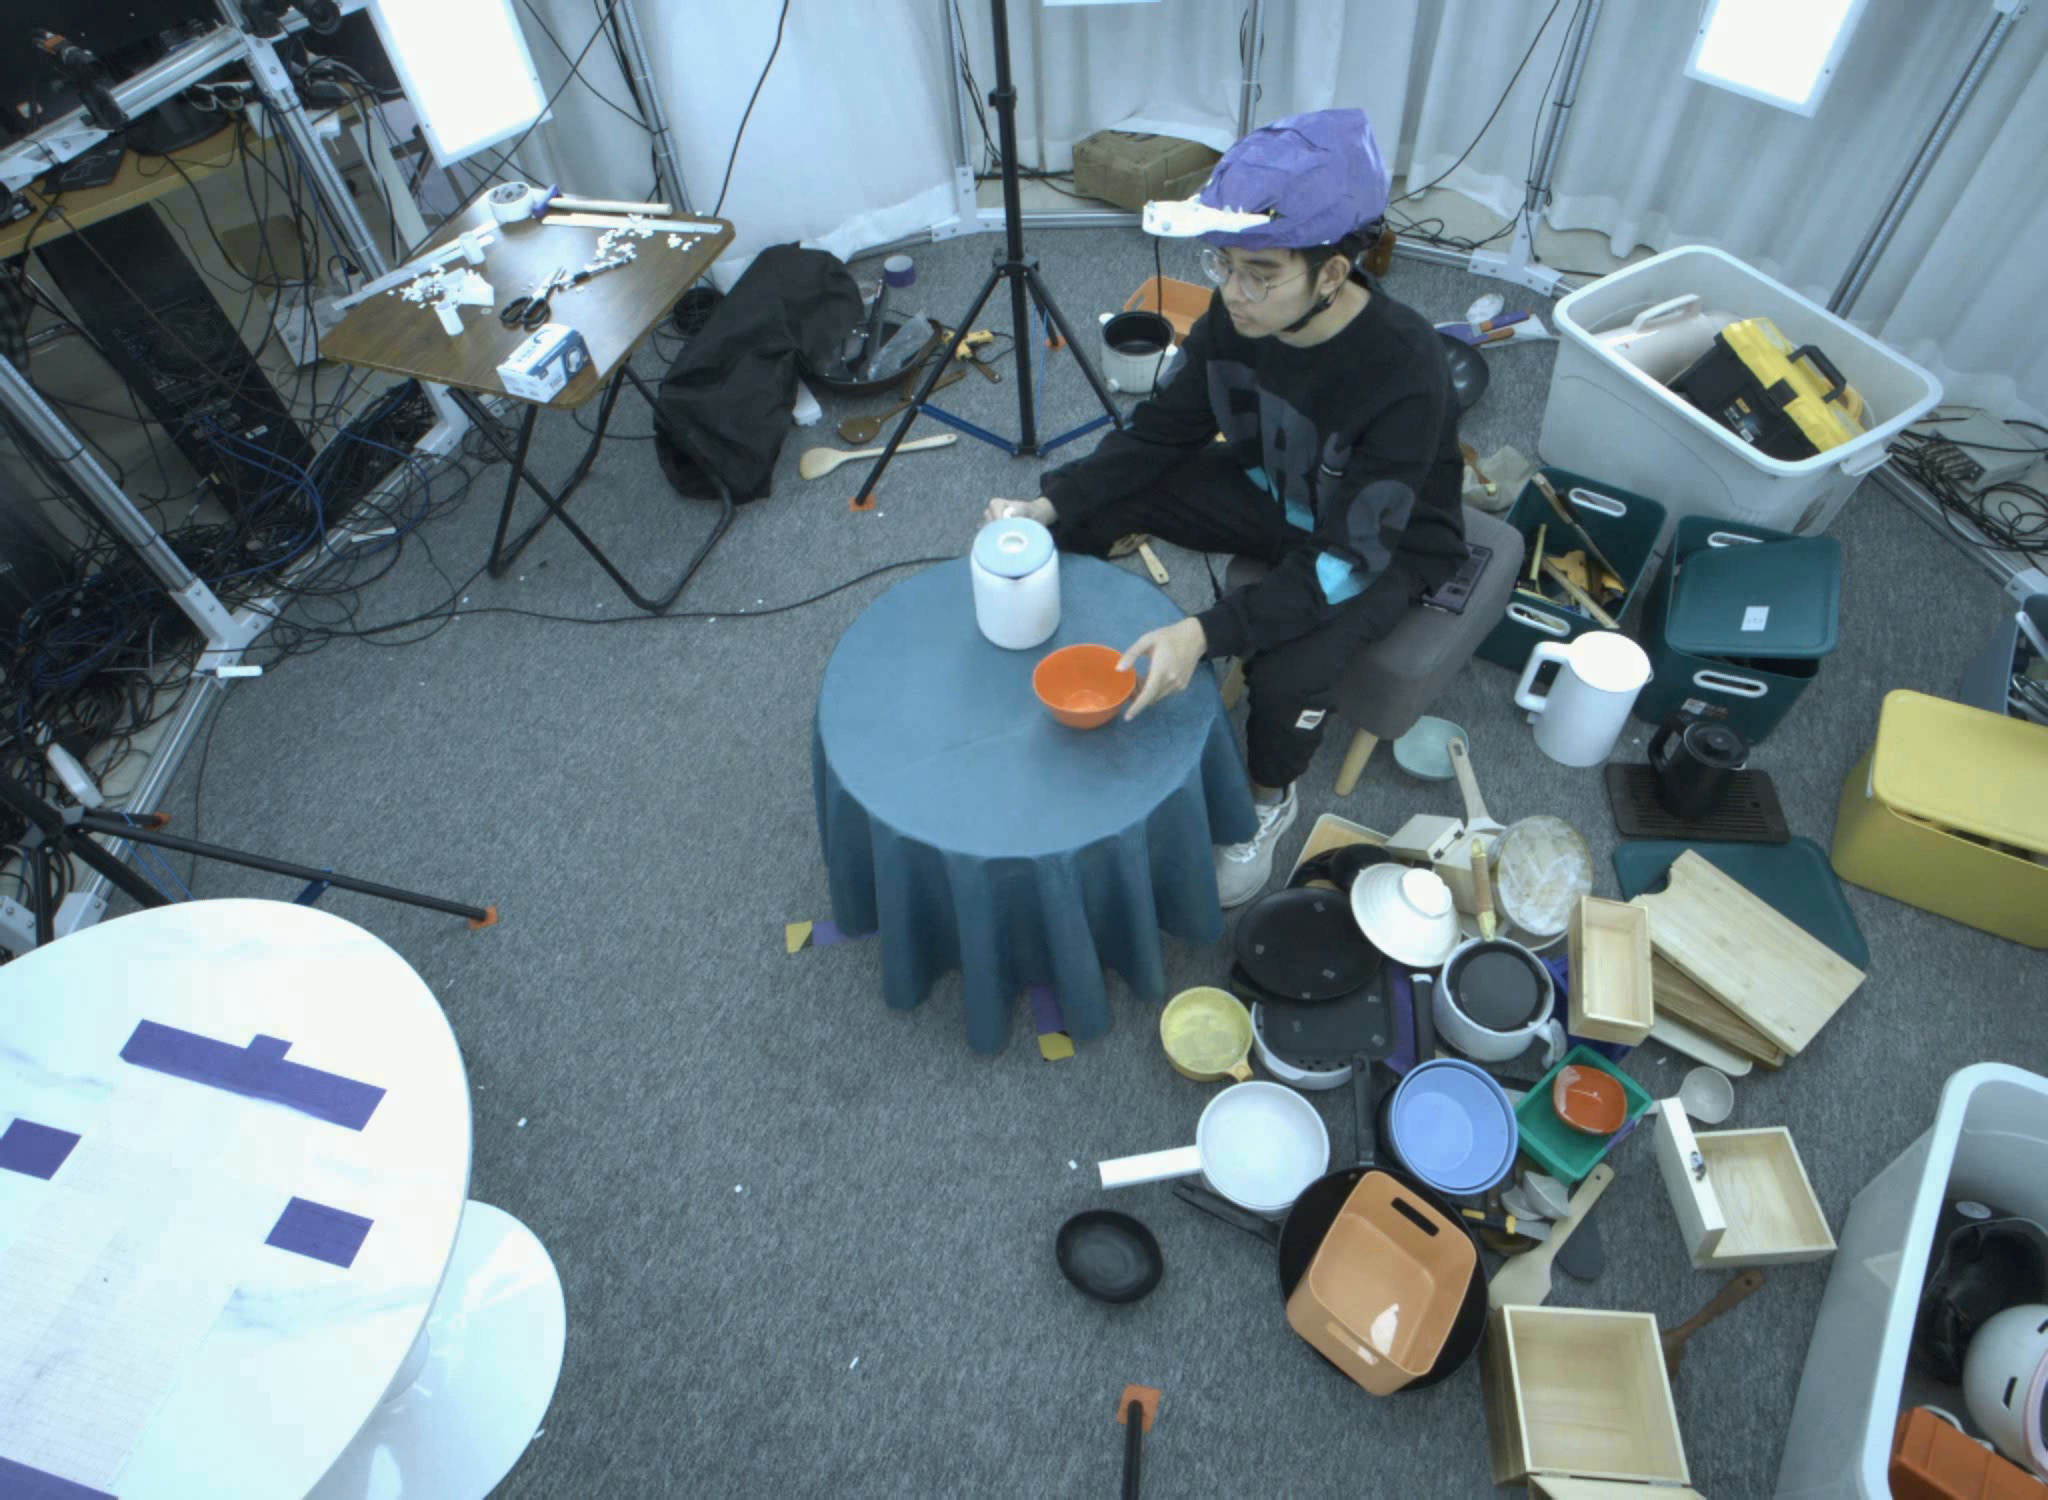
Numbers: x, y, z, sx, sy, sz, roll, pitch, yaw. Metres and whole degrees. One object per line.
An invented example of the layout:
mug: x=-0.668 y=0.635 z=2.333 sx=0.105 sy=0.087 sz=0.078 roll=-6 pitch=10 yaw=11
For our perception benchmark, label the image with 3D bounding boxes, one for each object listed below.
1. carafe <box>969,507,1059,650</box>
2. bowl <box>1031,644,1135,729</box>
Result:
carafe: x=-0.018 y=-0.272 z=1.869 sx=0.132 sy=0.184 sz=0.188 roll=-6 pitch=54 yaw=-3
bowl: x=0.086 y=-0.078 z=1.773 sx=0.148 sy=0.106 sz=0.146 roll=-1 pitch=55 yaw=2
